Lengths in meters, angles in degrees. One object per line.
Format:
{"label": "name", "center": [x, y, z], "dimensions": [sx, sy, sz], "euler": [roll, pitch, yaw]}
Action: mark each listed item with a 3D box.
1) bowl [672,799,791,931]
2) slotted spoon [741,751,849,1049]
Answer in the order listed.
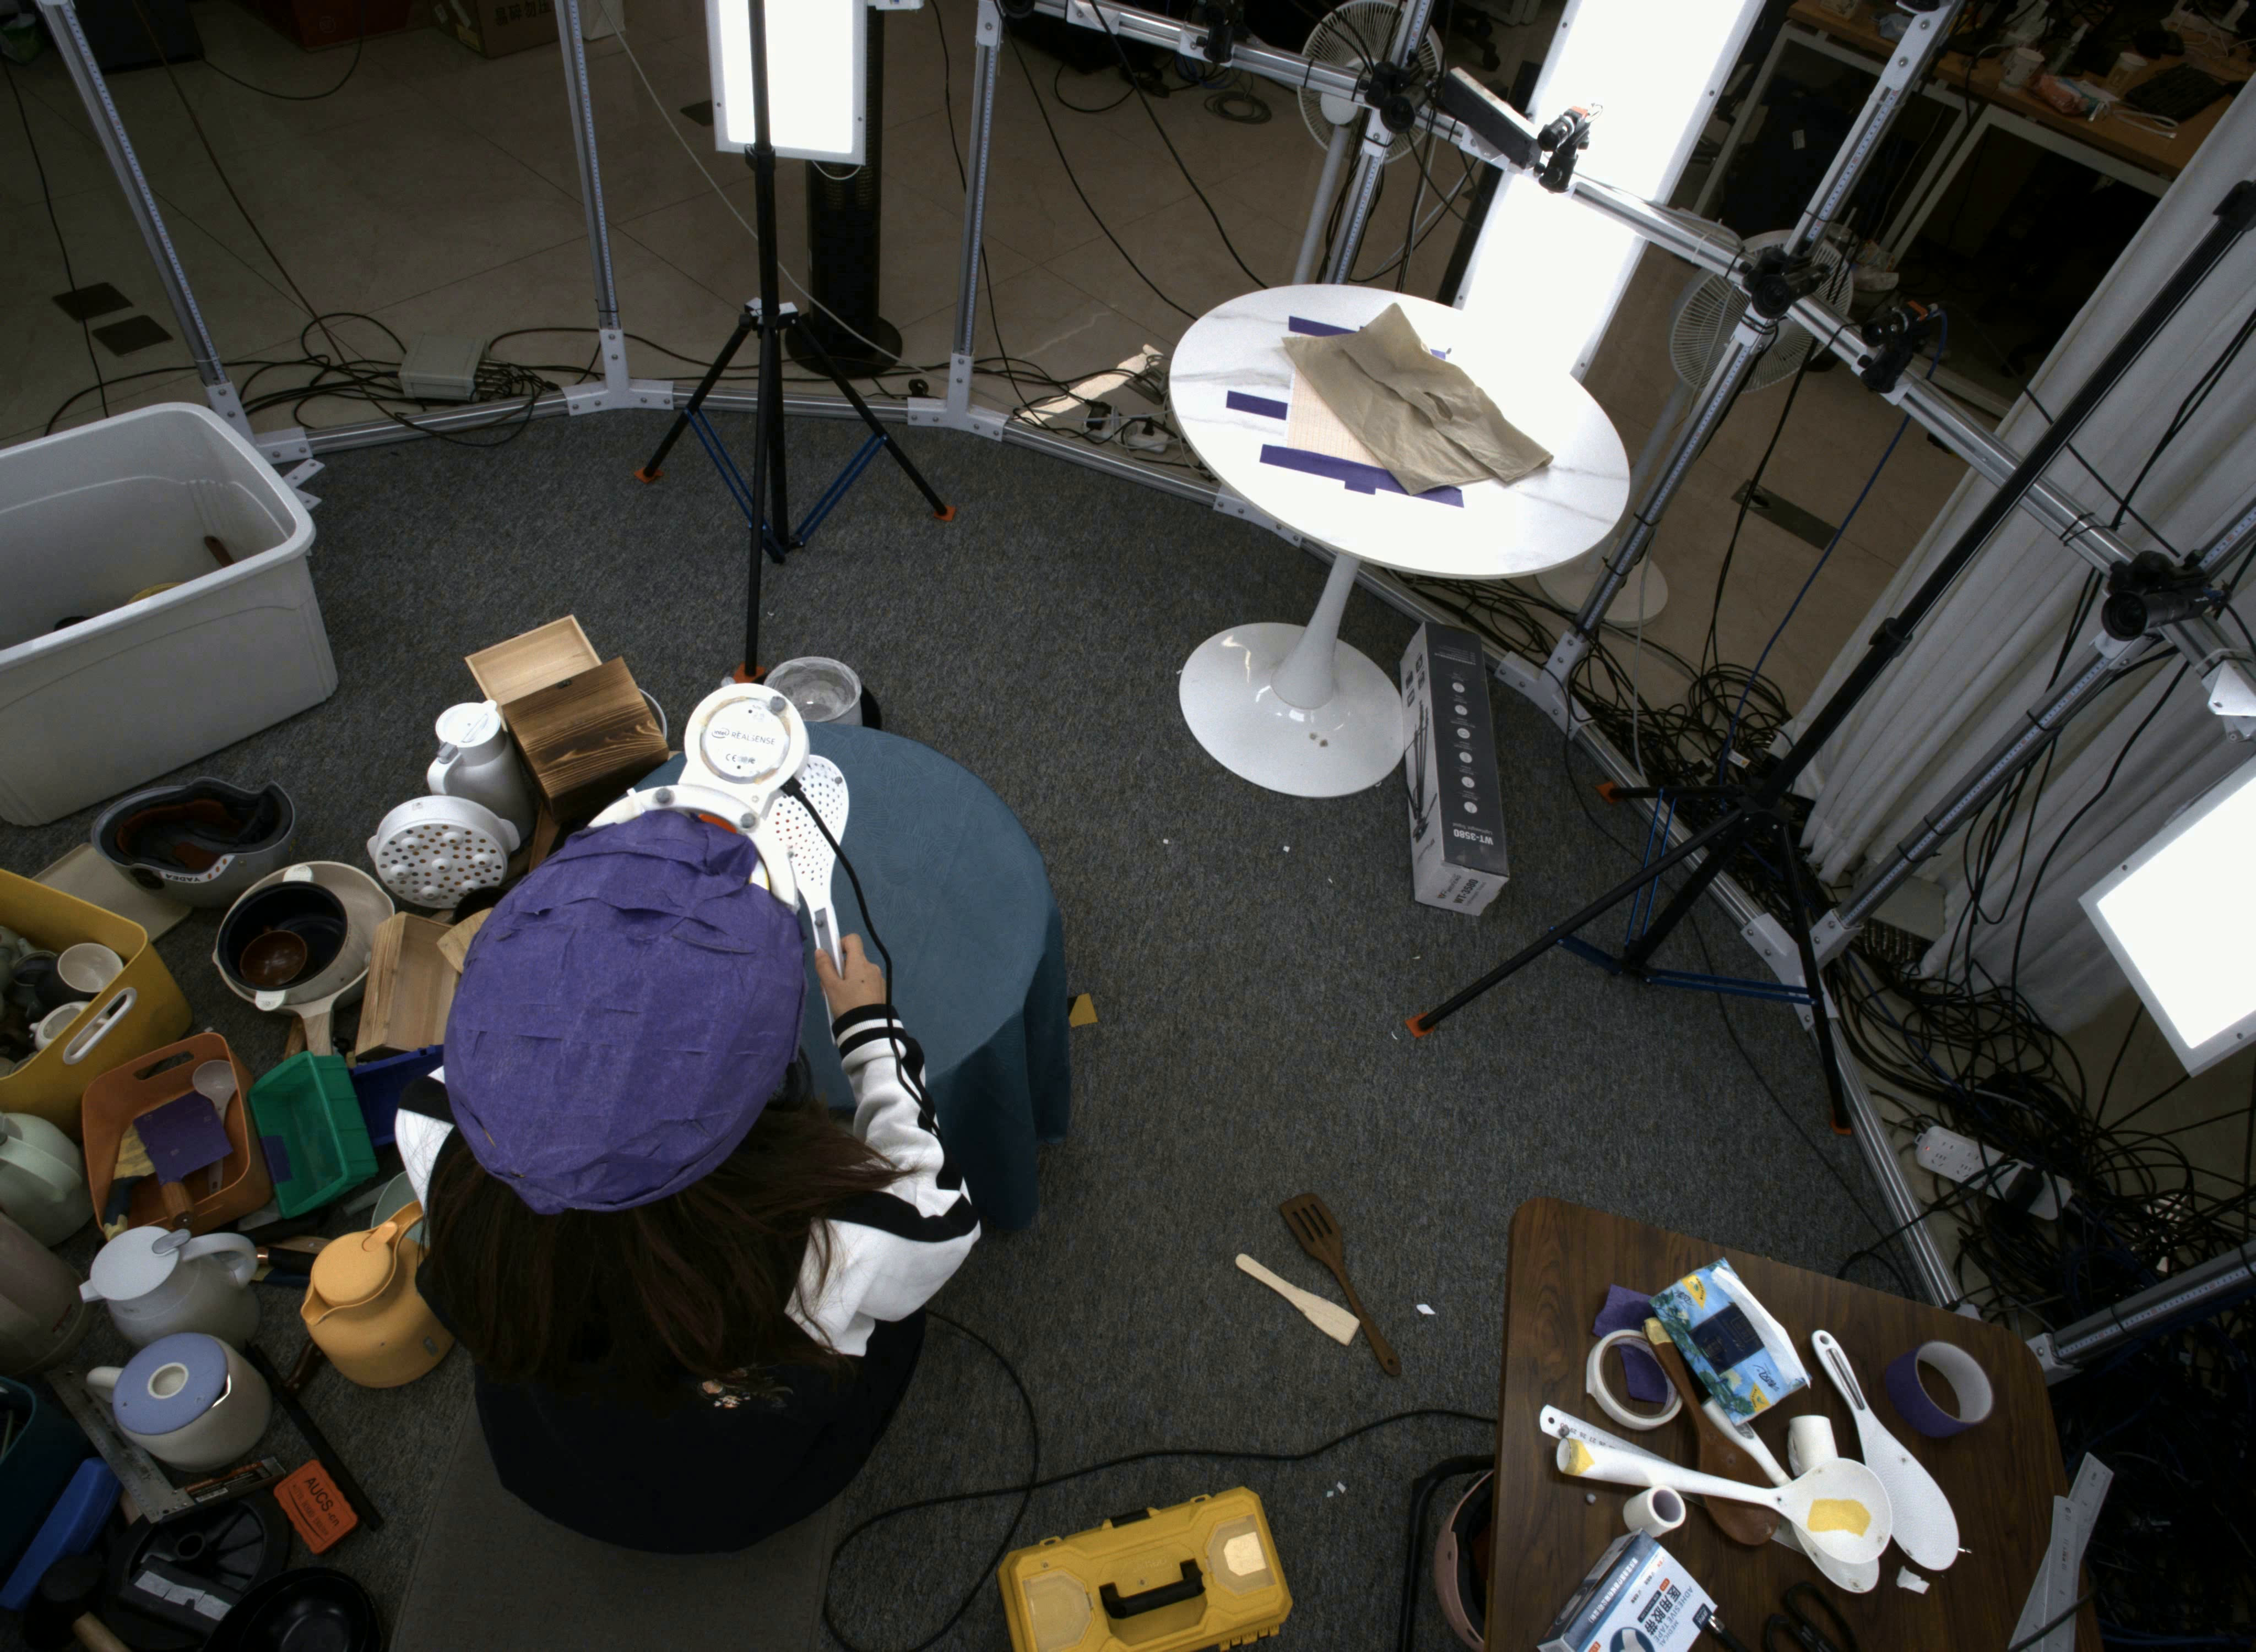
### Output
{"label": "bowl", "center": [-0.472, 0.057, 1.555], "dimensions": [0.148, 0.106, 0.145], "euler": [12, 49, -12]}
{"label": "slotted spoon", "center": [-0.360, 0.079, 1.460], "dimensions": [0.134, 0.047, 0.344], "euler": [-23, 66, 18]}
